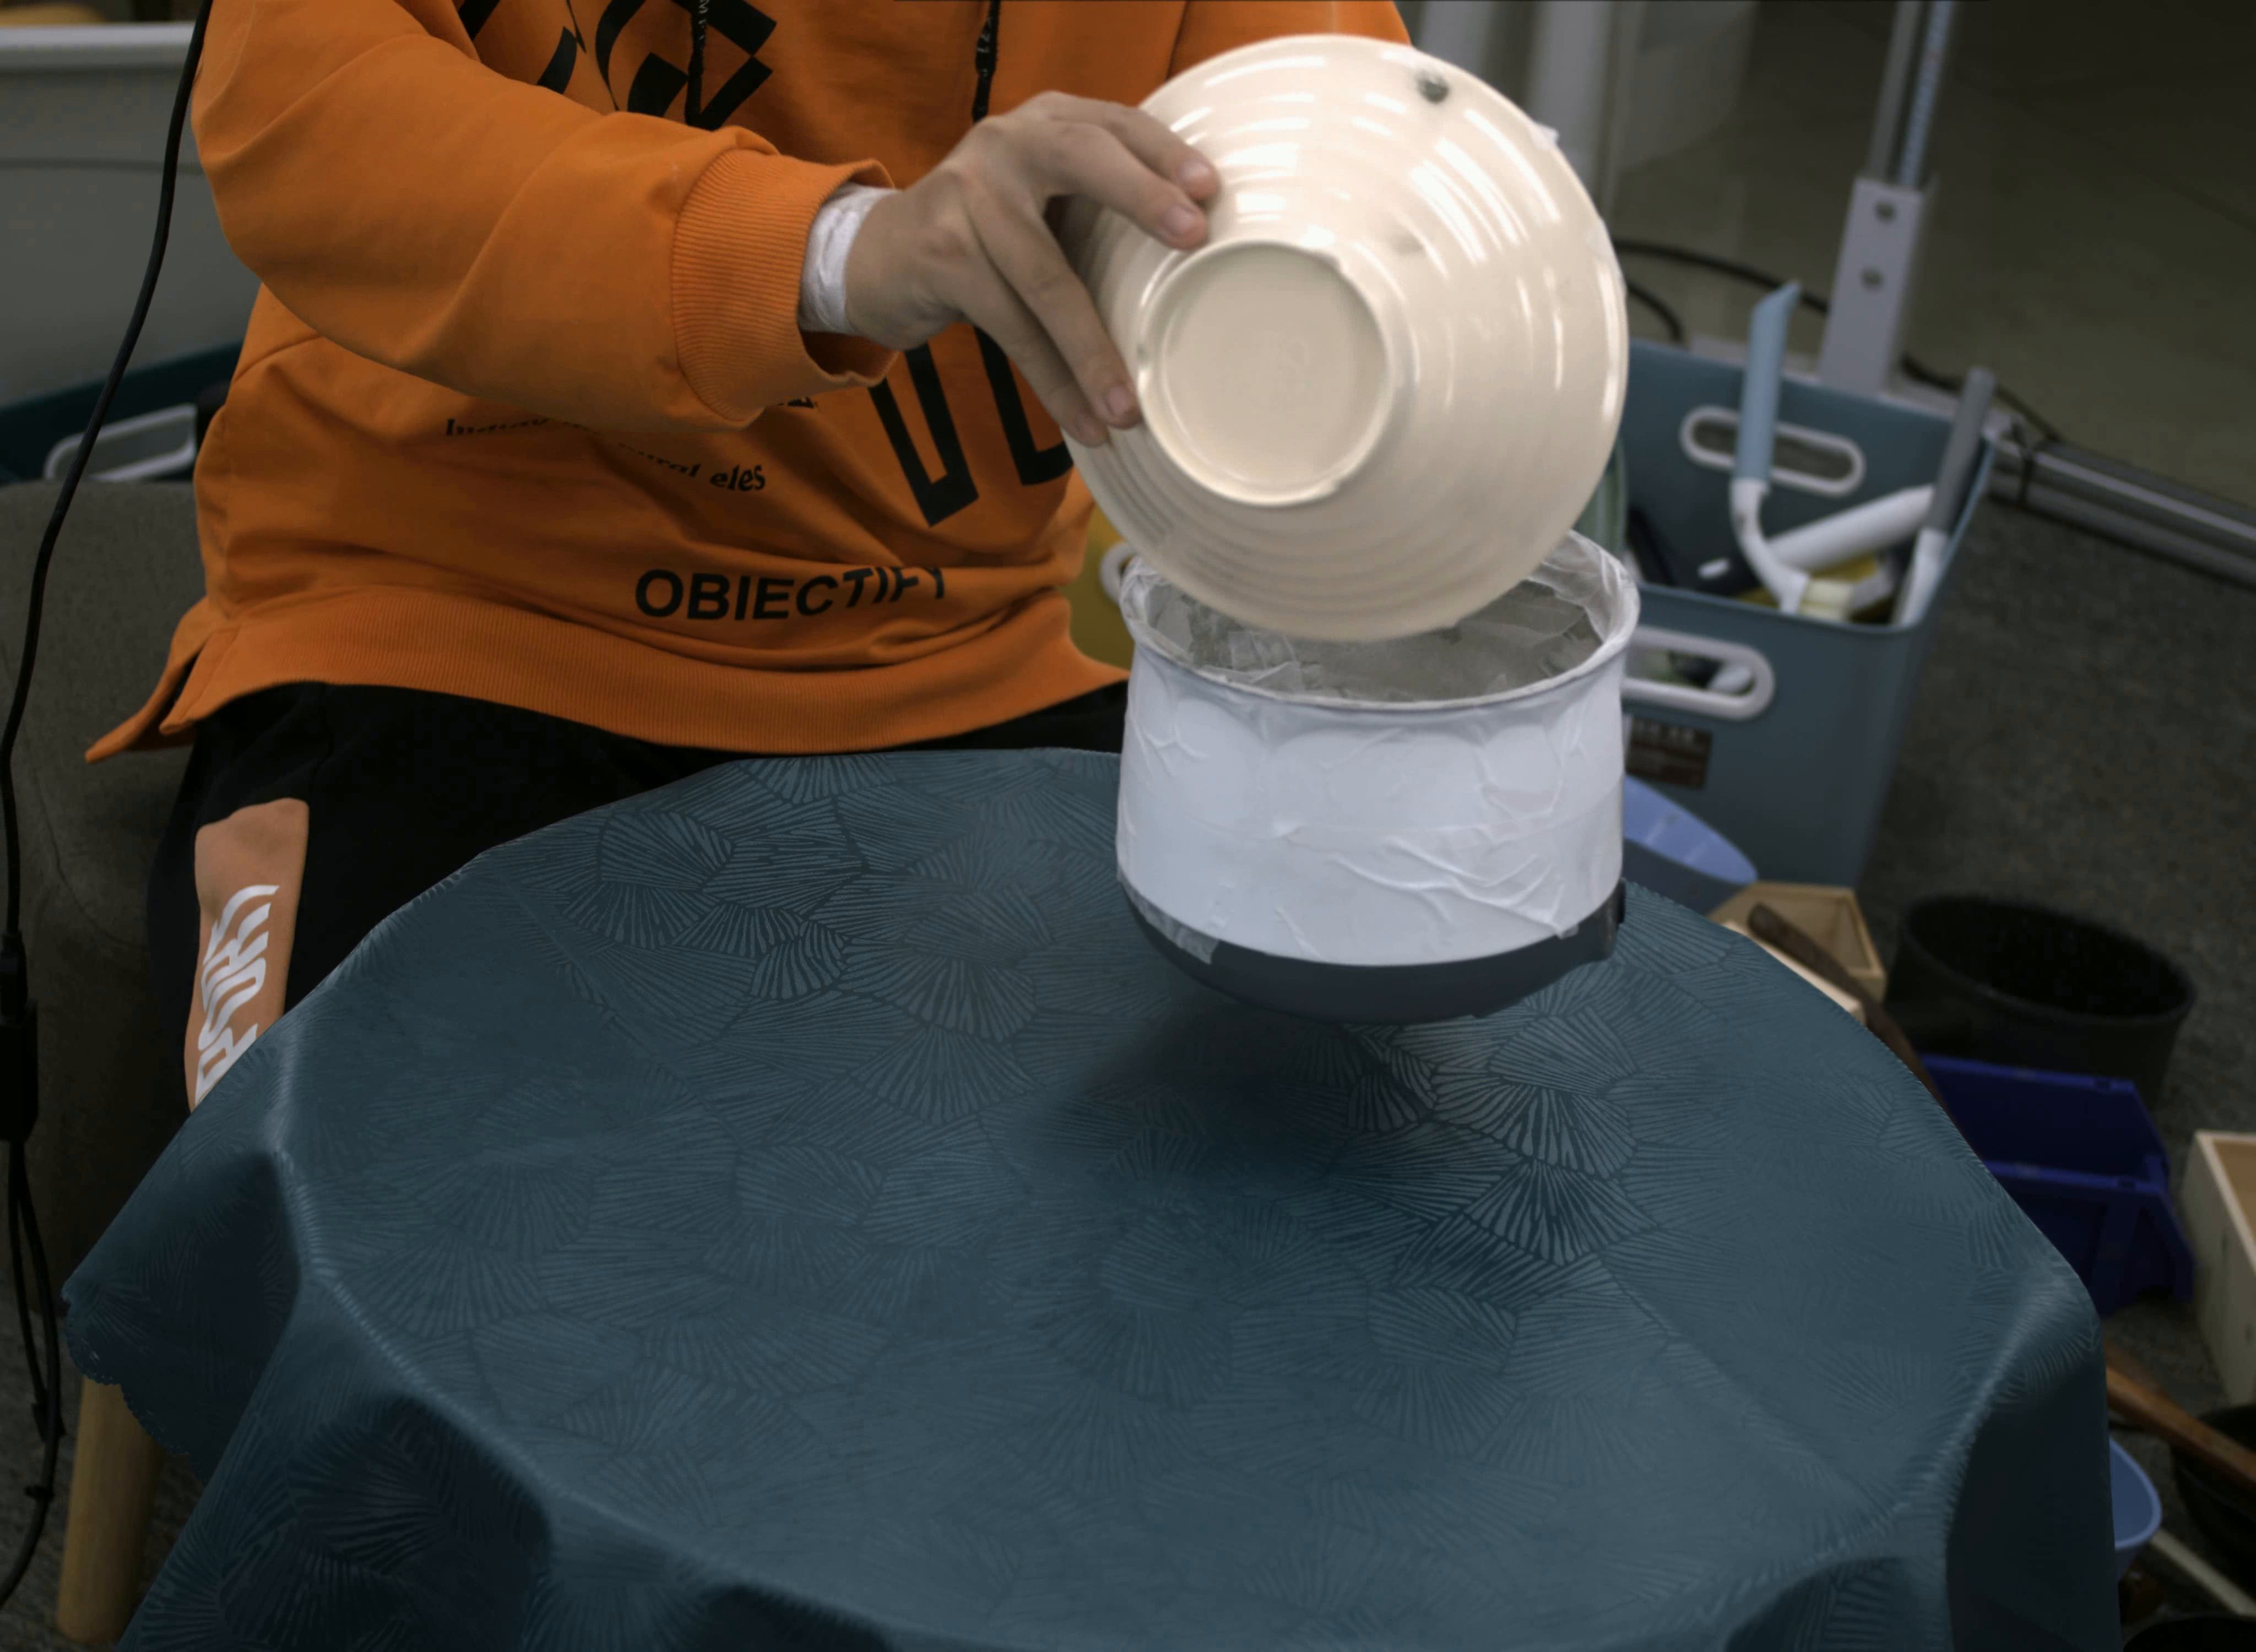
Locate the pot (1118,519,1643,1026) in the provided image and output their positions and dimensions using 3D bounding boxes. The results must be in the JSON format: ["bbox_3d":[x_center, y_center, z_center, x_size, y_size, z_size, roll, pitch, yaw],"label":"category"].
[{"bbox_3d":[0.087,-0.036,1.852,0.178,0.136,0.235,3,27,4],"label":"pot"}]

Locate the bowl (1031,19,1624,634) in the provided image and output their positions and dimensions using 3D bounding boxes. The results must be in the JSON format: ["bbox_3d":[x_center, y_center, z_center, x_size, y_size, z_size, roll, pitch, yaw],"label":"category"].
[{"bbox_3d":[0.054,-0.156,1.726,0.204,0.204,0.078,15,17,15],"label":"bowl"}]
